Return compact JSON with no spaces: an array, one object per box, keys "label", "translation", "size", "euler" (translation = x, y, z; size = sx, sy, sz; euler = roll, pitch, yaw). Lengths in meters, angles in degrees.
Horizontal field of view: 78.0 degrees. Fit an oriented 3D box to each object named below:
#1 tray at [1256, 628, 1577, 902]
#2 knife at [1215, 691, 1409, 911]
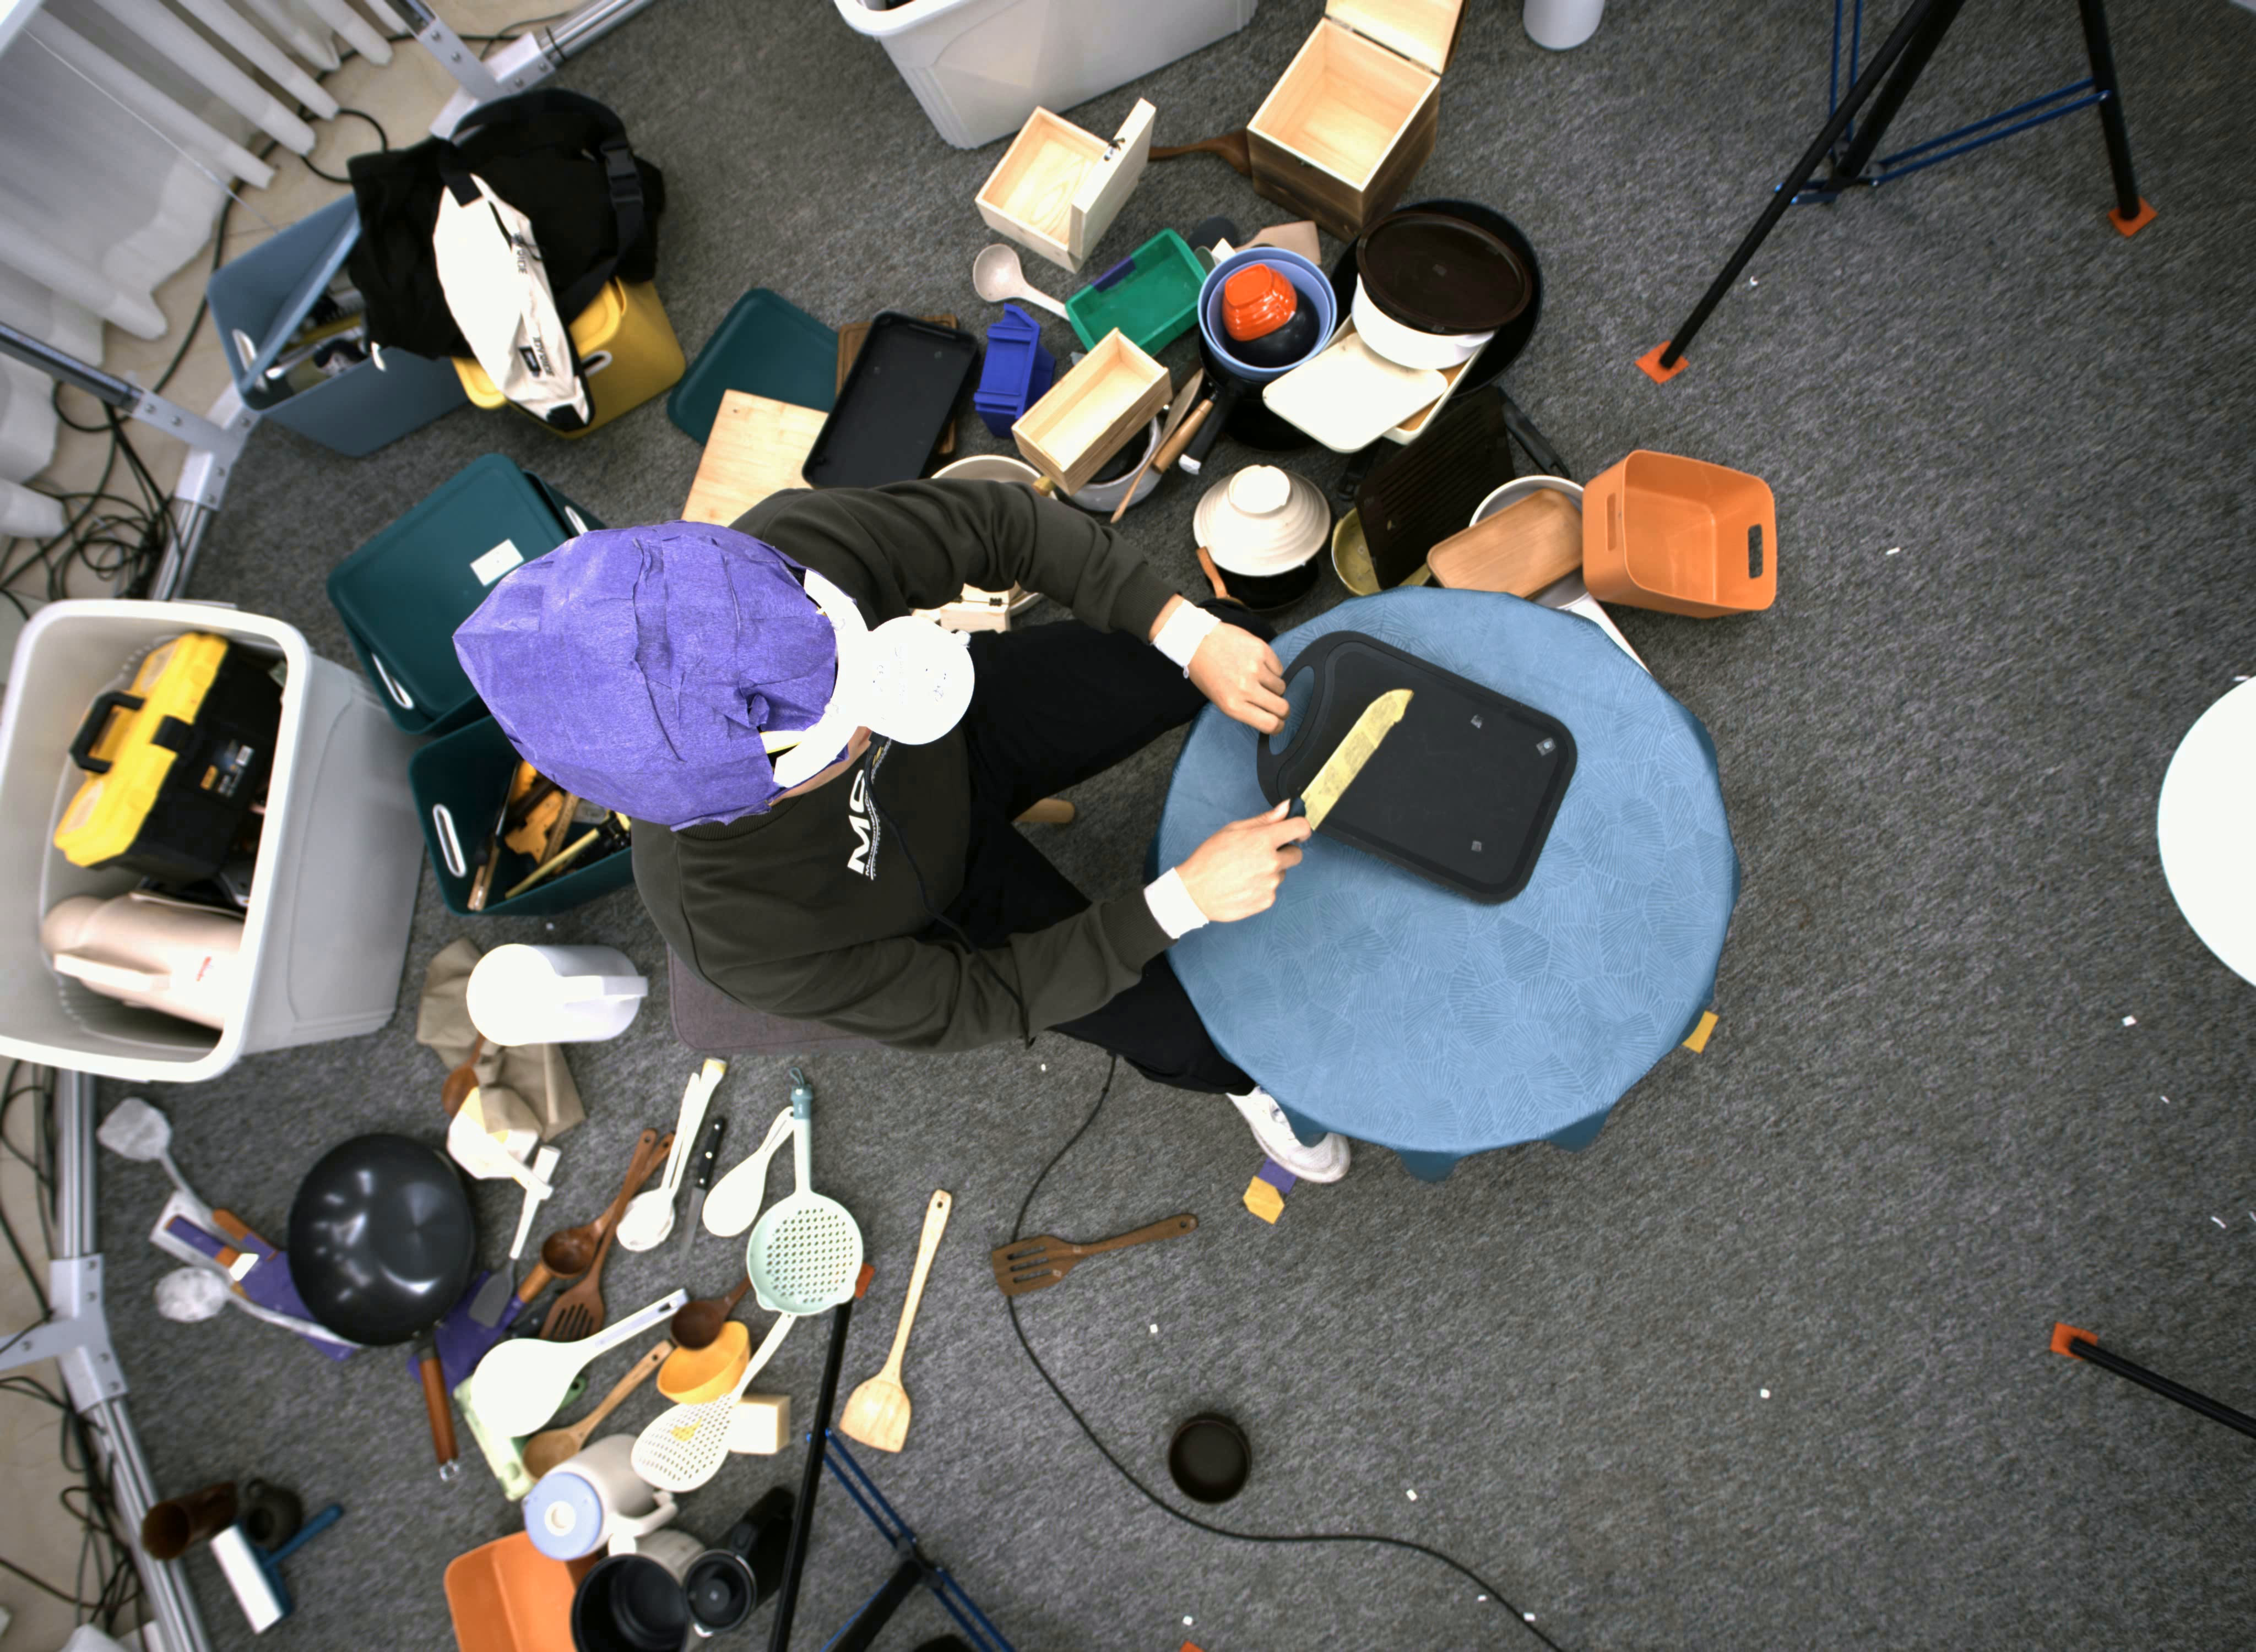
[{"label":"tray","translation":[0.293,-0.067,1.419],"size":[0.326,0.010,0.211],"euler":[23,90,-3]},{"label":"knife","translation":[0.188,-0.026,1.383],"size":[0.290,0.082,0.027],"euler":[-49,57,2]}]
